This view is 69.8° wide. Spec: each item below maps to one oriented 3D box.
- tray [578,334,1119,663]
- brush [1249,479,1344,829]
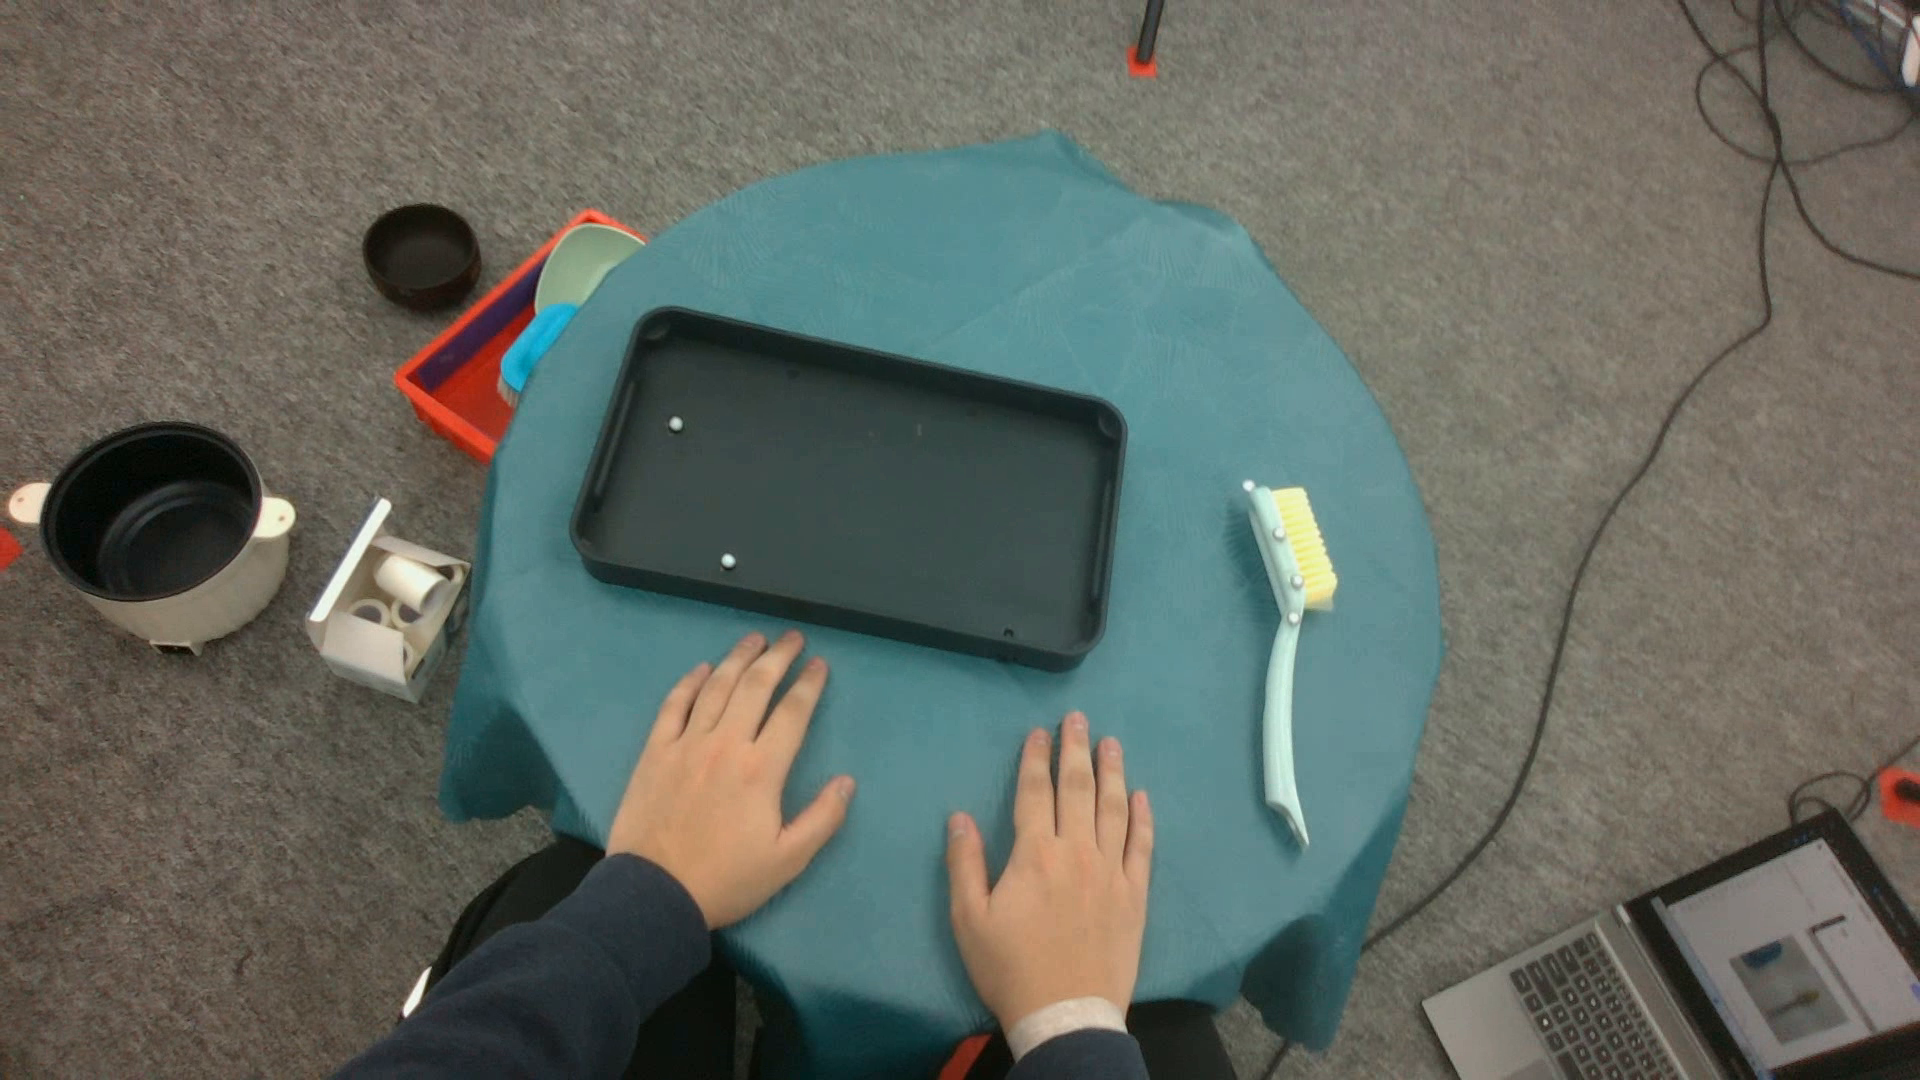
[{"bbox_3d":[-0.062,-0.027,0.862,0.318,0.037,0.185,7,62,-3],"label":"tray"},{"bbox_3d":[0.216,0.063,0.845,0.049,0.037,0.229,-2,61,0],"label":"brush"}]
